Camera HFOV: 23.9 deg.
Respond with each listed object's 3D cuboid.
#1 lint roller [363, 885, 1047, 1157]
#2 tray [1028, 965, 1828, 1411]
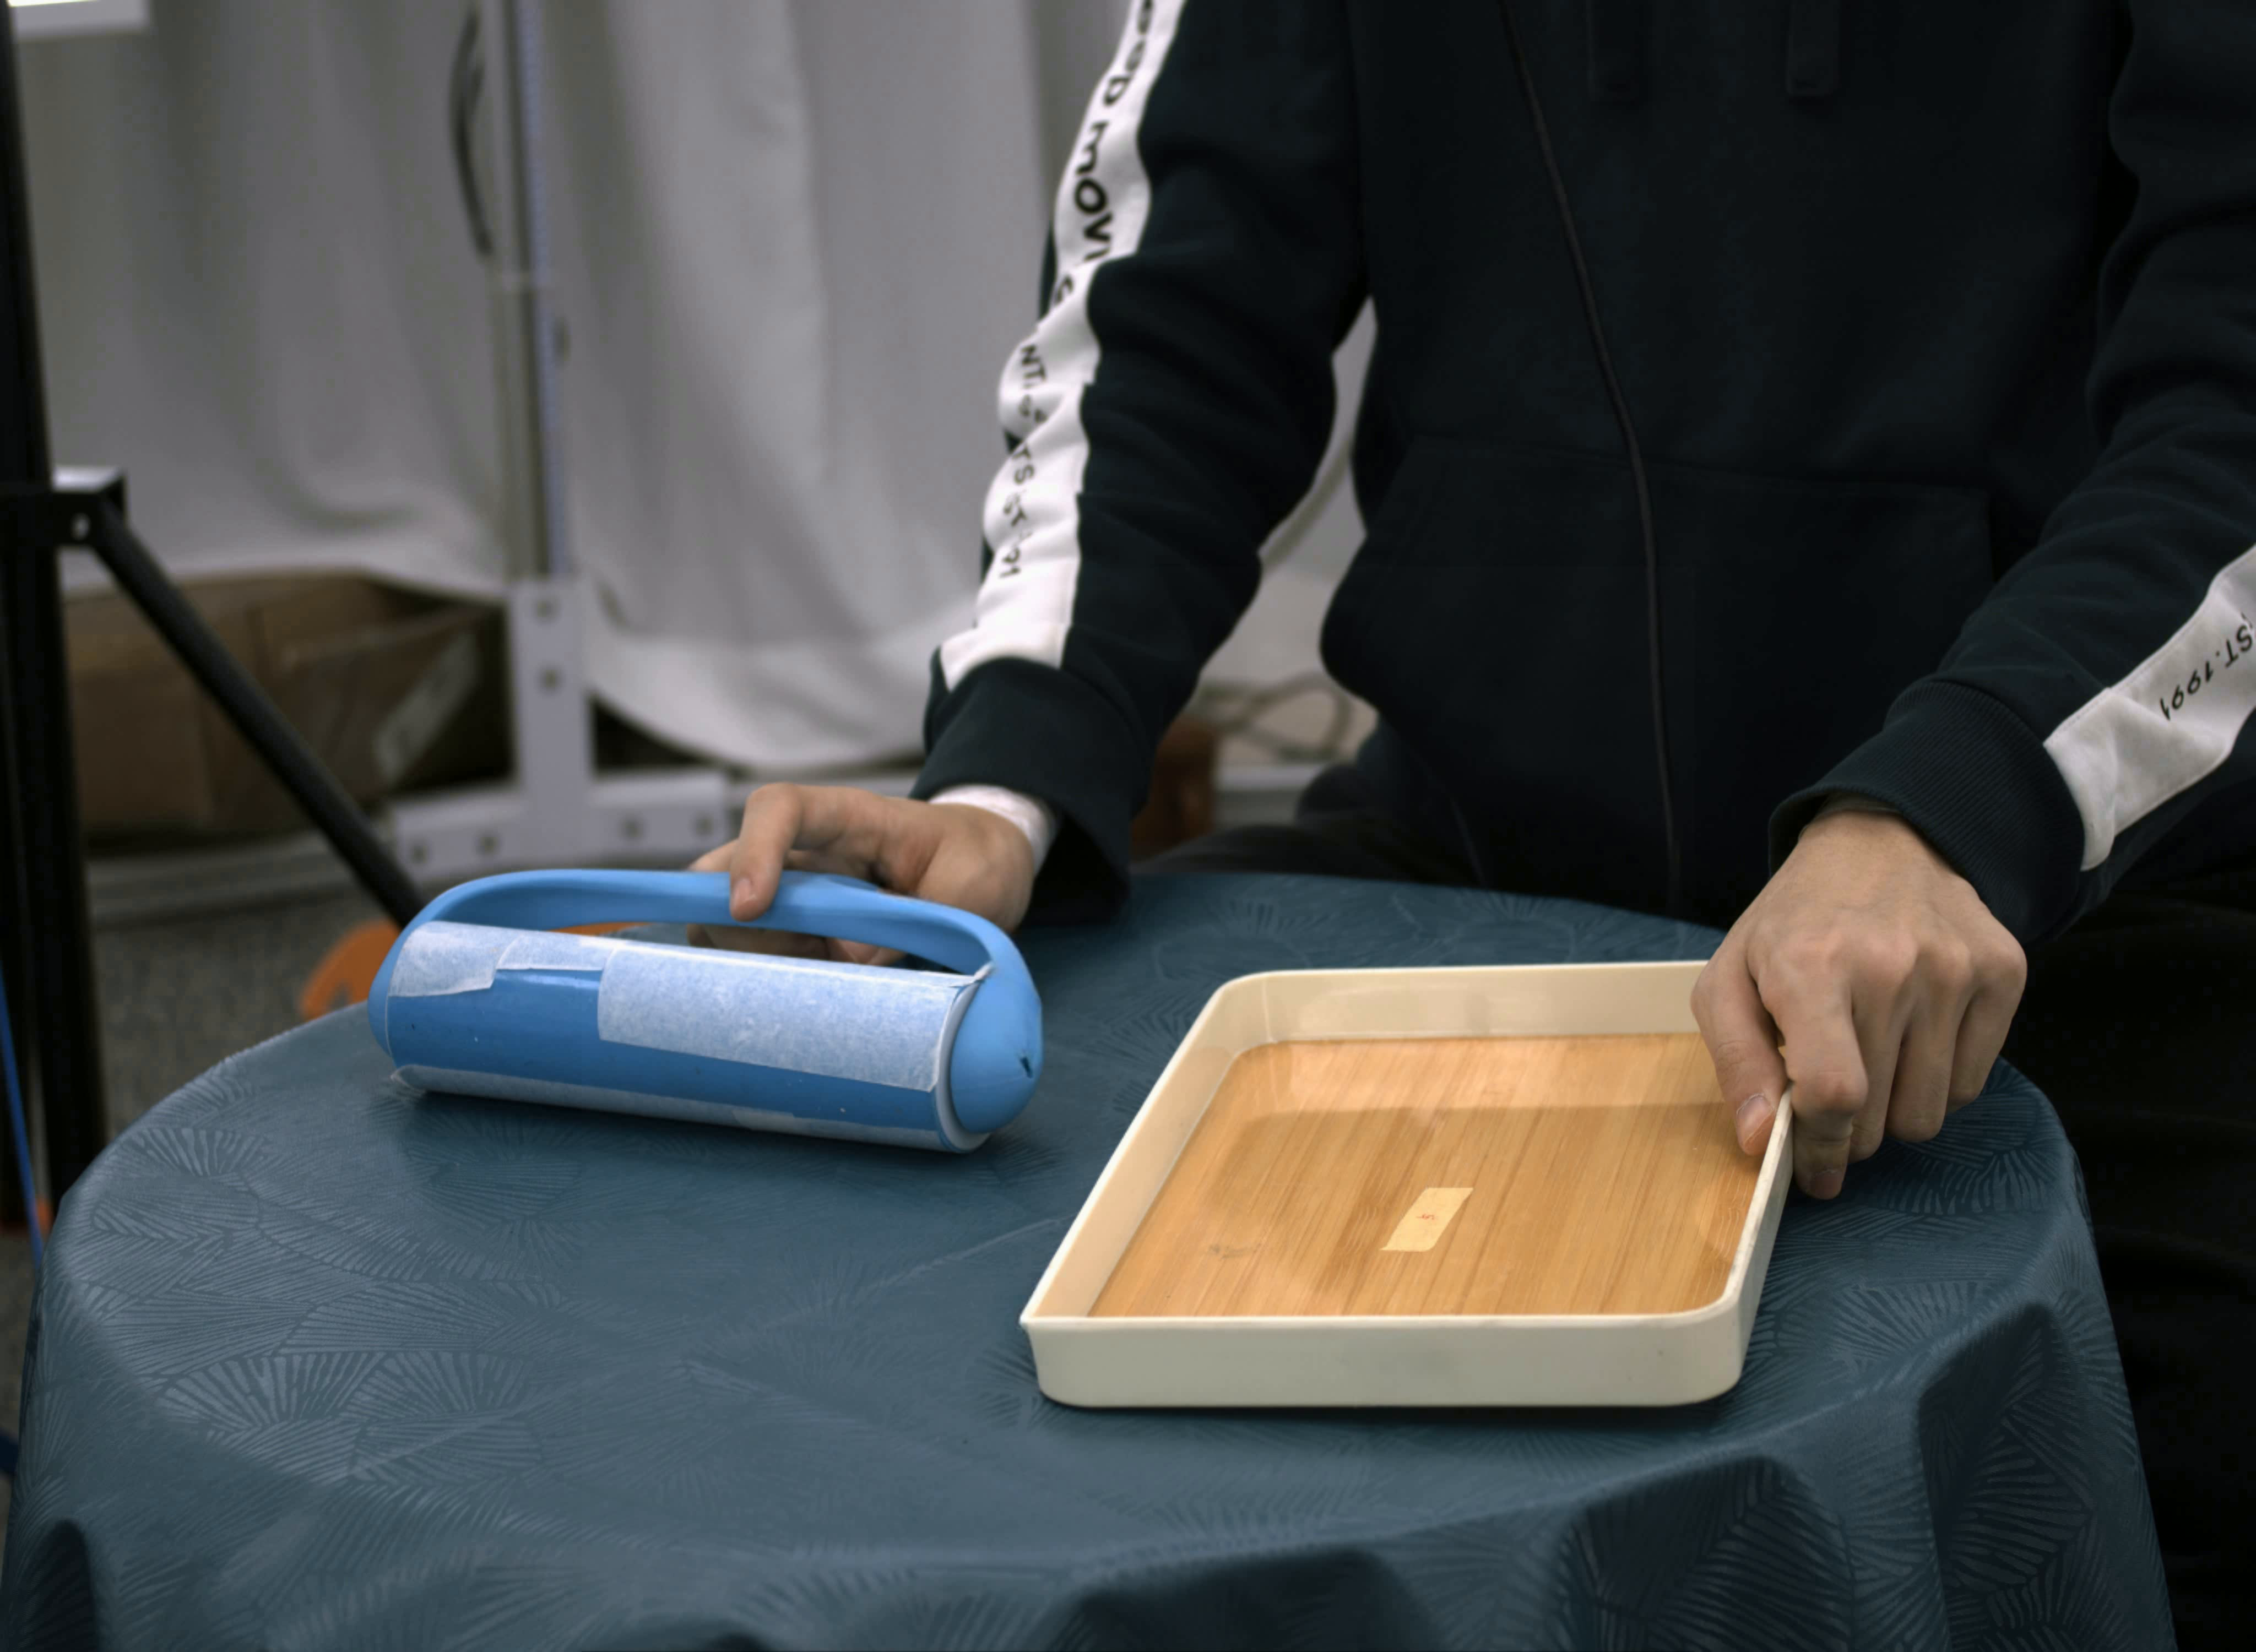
[{"bbox_3d":[-0.112,0.049,1.685,0.232,0.068,0.178,2,17,22],"label":"lint roller"},{"bbox_3d":[0.094,0.099,1.506,0.193,0.027,0.298,-2,16,14],"label":"tray"}]
